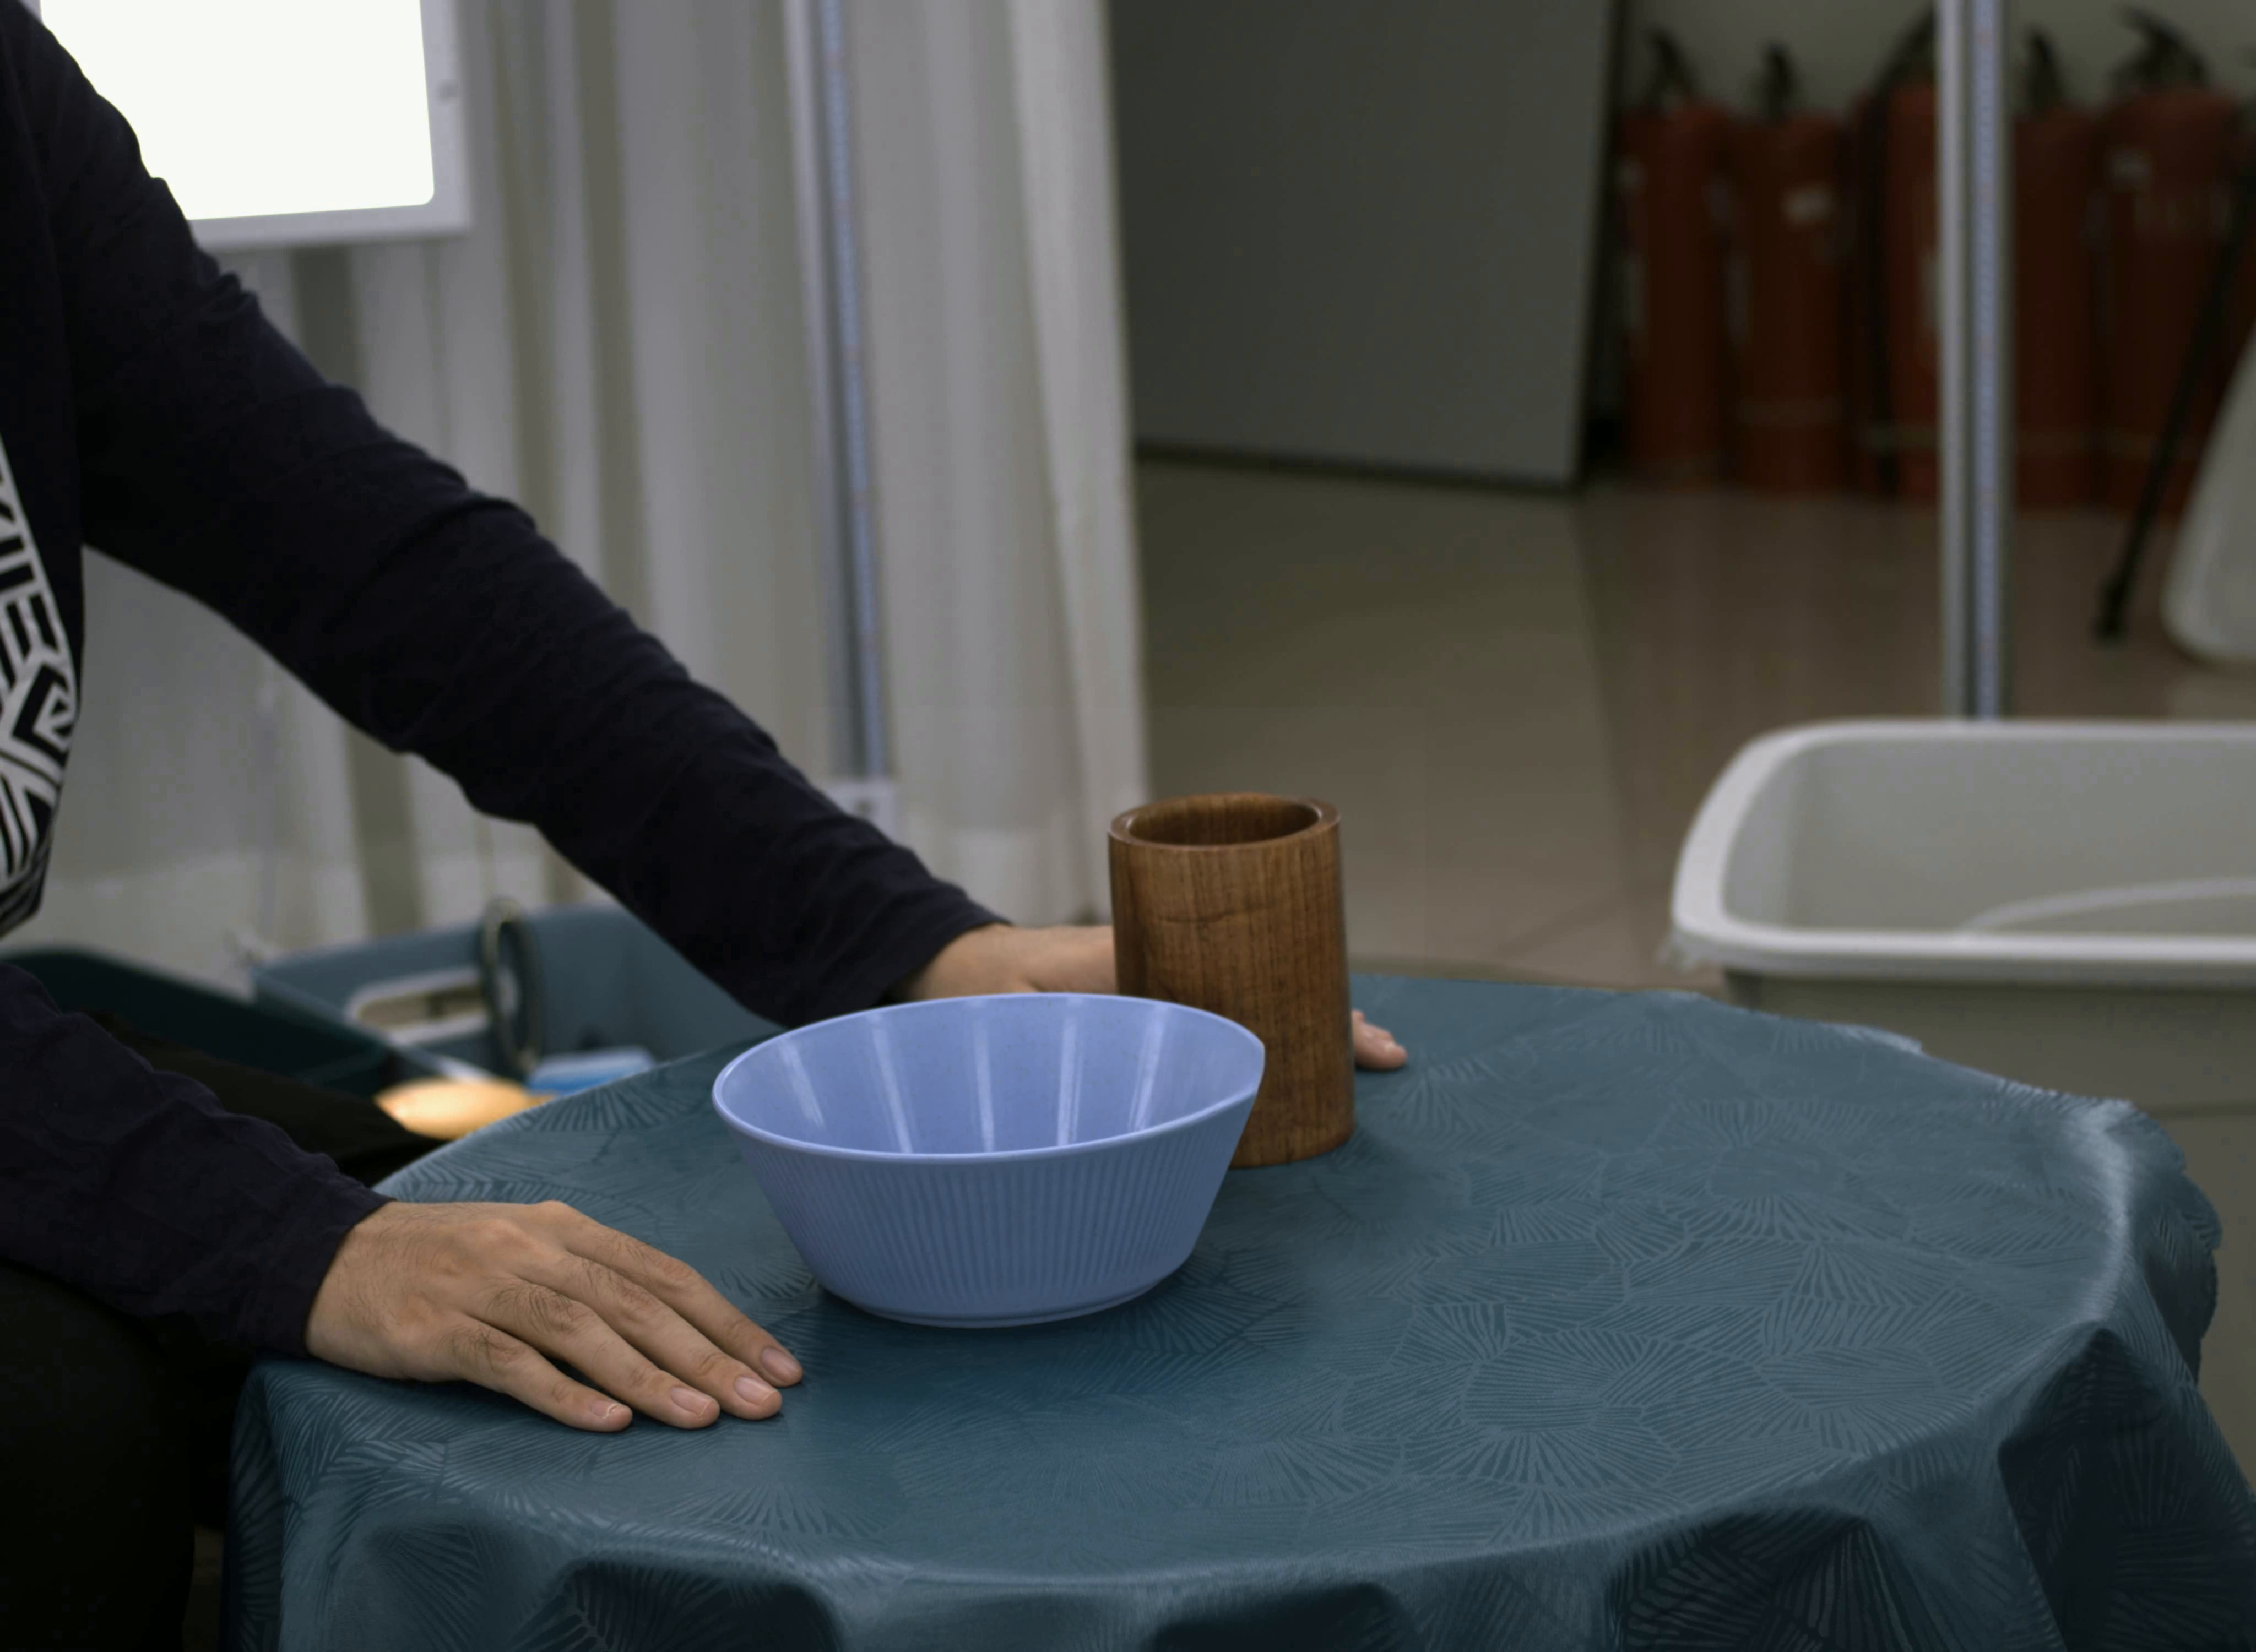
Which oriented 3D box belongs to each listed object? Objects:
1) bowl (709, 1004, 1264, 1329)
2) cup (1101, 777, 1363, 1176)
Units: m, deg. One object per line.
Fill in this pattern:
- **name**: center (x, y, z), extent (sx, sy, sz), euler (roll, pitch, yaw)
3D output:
- **bowl**: center (-0.042, 0.108, 1.693), extent (0.174, 0.071, 0.176), euler (-4, 13, 0)
- **cup**: center (0.036, 0.050, 1.811), extent (0.086, 0.120, 0.088), euler (-5, 11, 0)
